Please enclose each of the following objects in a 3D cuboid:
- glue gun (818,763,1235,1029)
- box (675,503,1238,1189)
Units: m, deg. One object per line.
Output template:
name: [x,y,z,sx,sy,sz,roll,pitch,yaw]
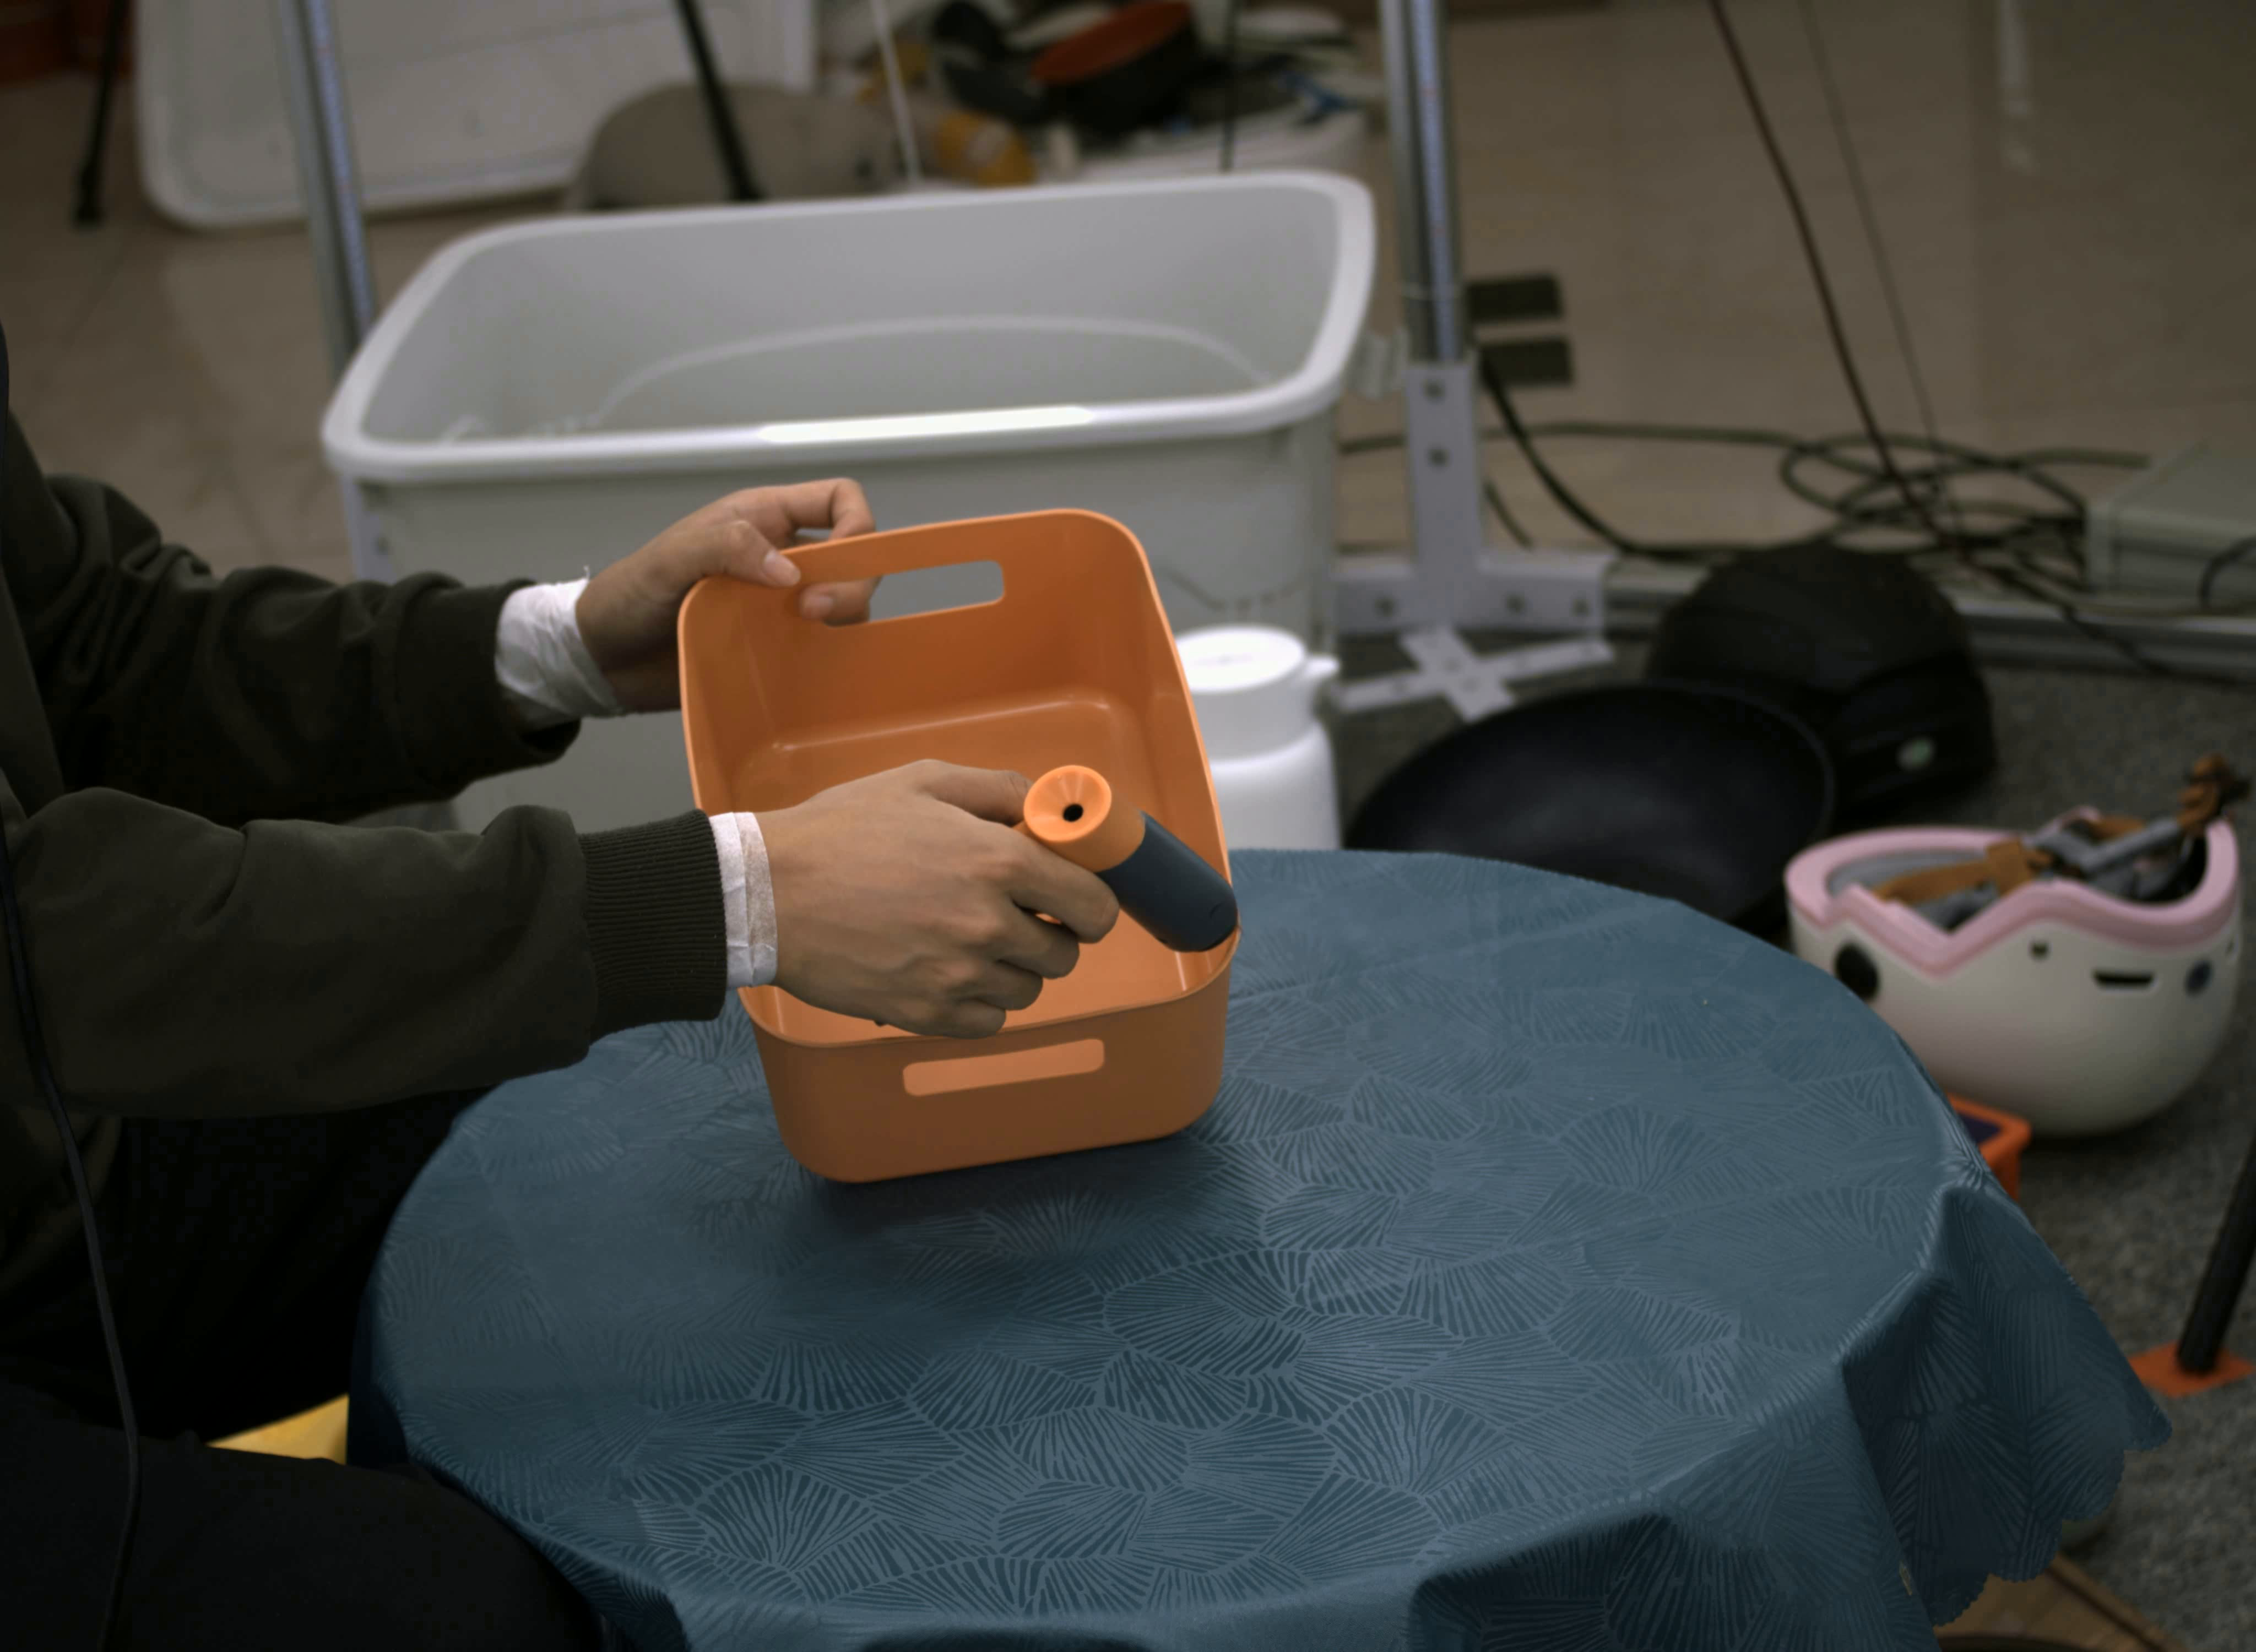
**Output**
glue gun: [-0.035,0.030,2.086,0.140,0.120,0.040,-16,55,5]
box: [-0.067,0.012,2.224,0.199,0.104,0.268,-10,50,-4]
